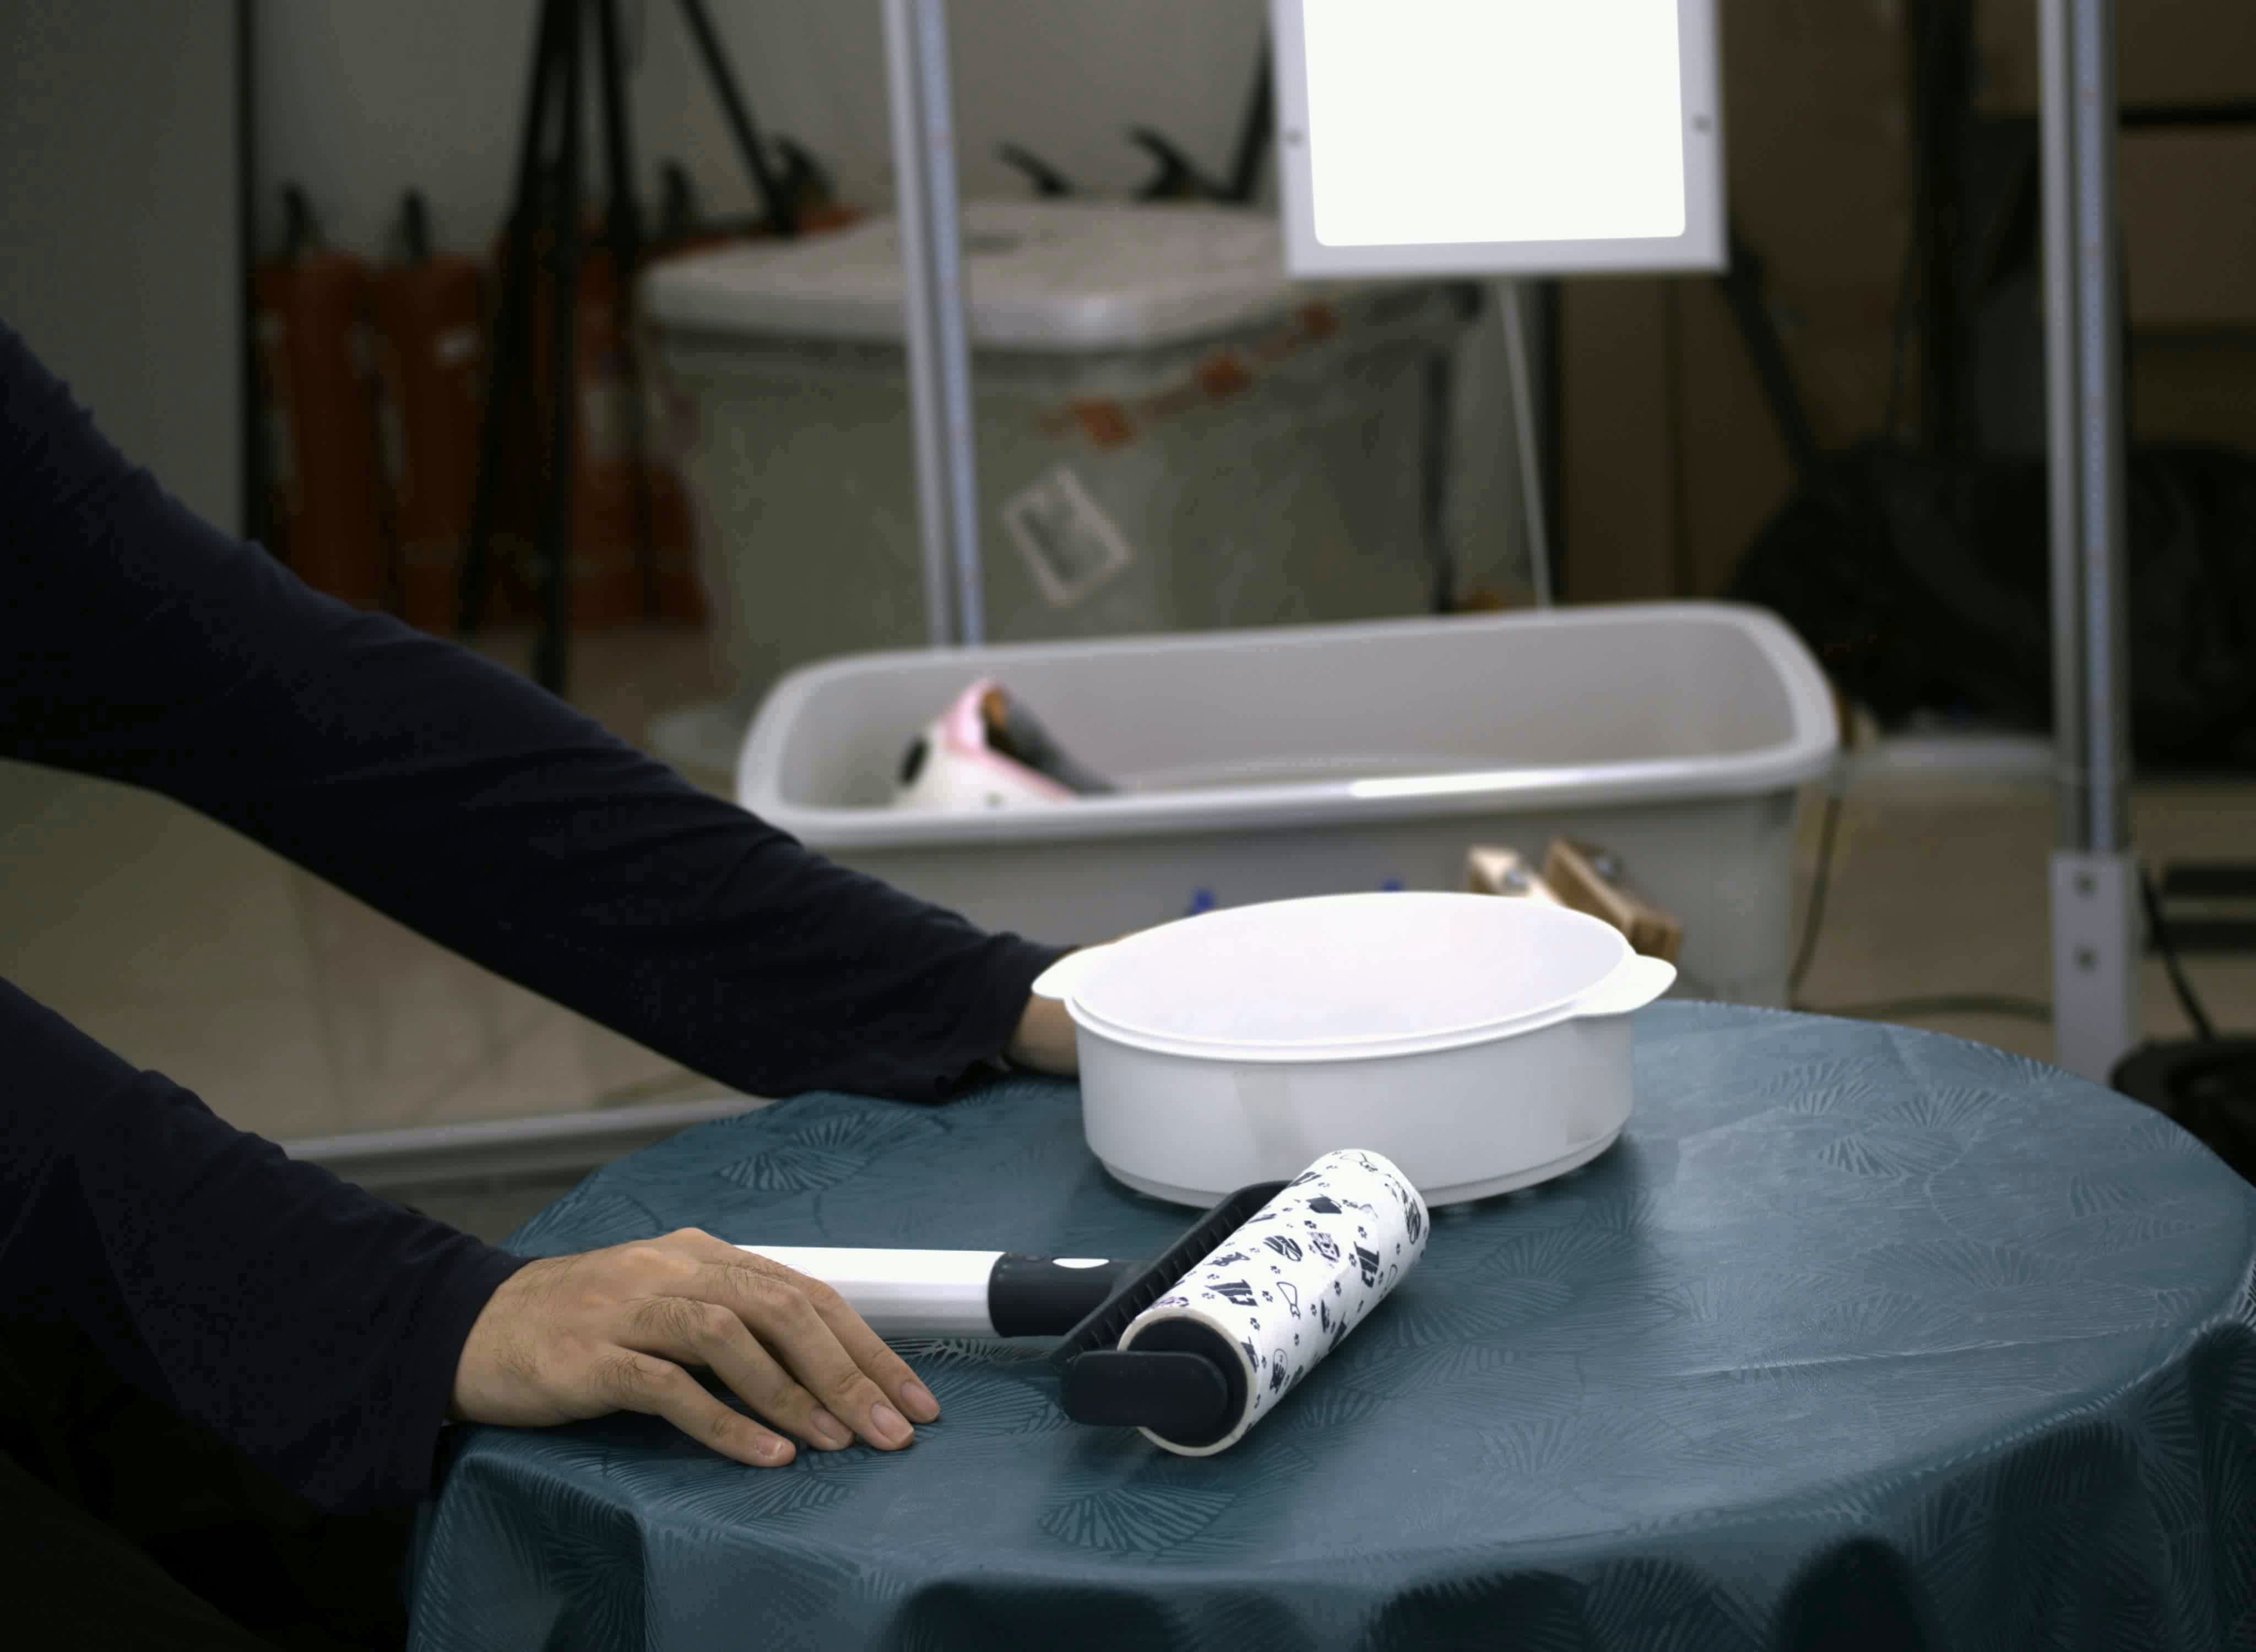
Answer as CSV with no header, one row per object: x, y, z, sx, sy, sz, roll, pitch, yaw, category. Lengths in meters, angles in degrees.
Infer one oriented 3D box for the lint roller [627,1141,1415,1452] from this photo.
-0.049,0.148,1.747,0.251,0.050,0.173,-2,14,24,lint roller

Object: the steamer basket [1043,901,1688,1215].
0.085,0.082,1.921,0.234,0.069,0.198,-2,13,24,steamer basket
